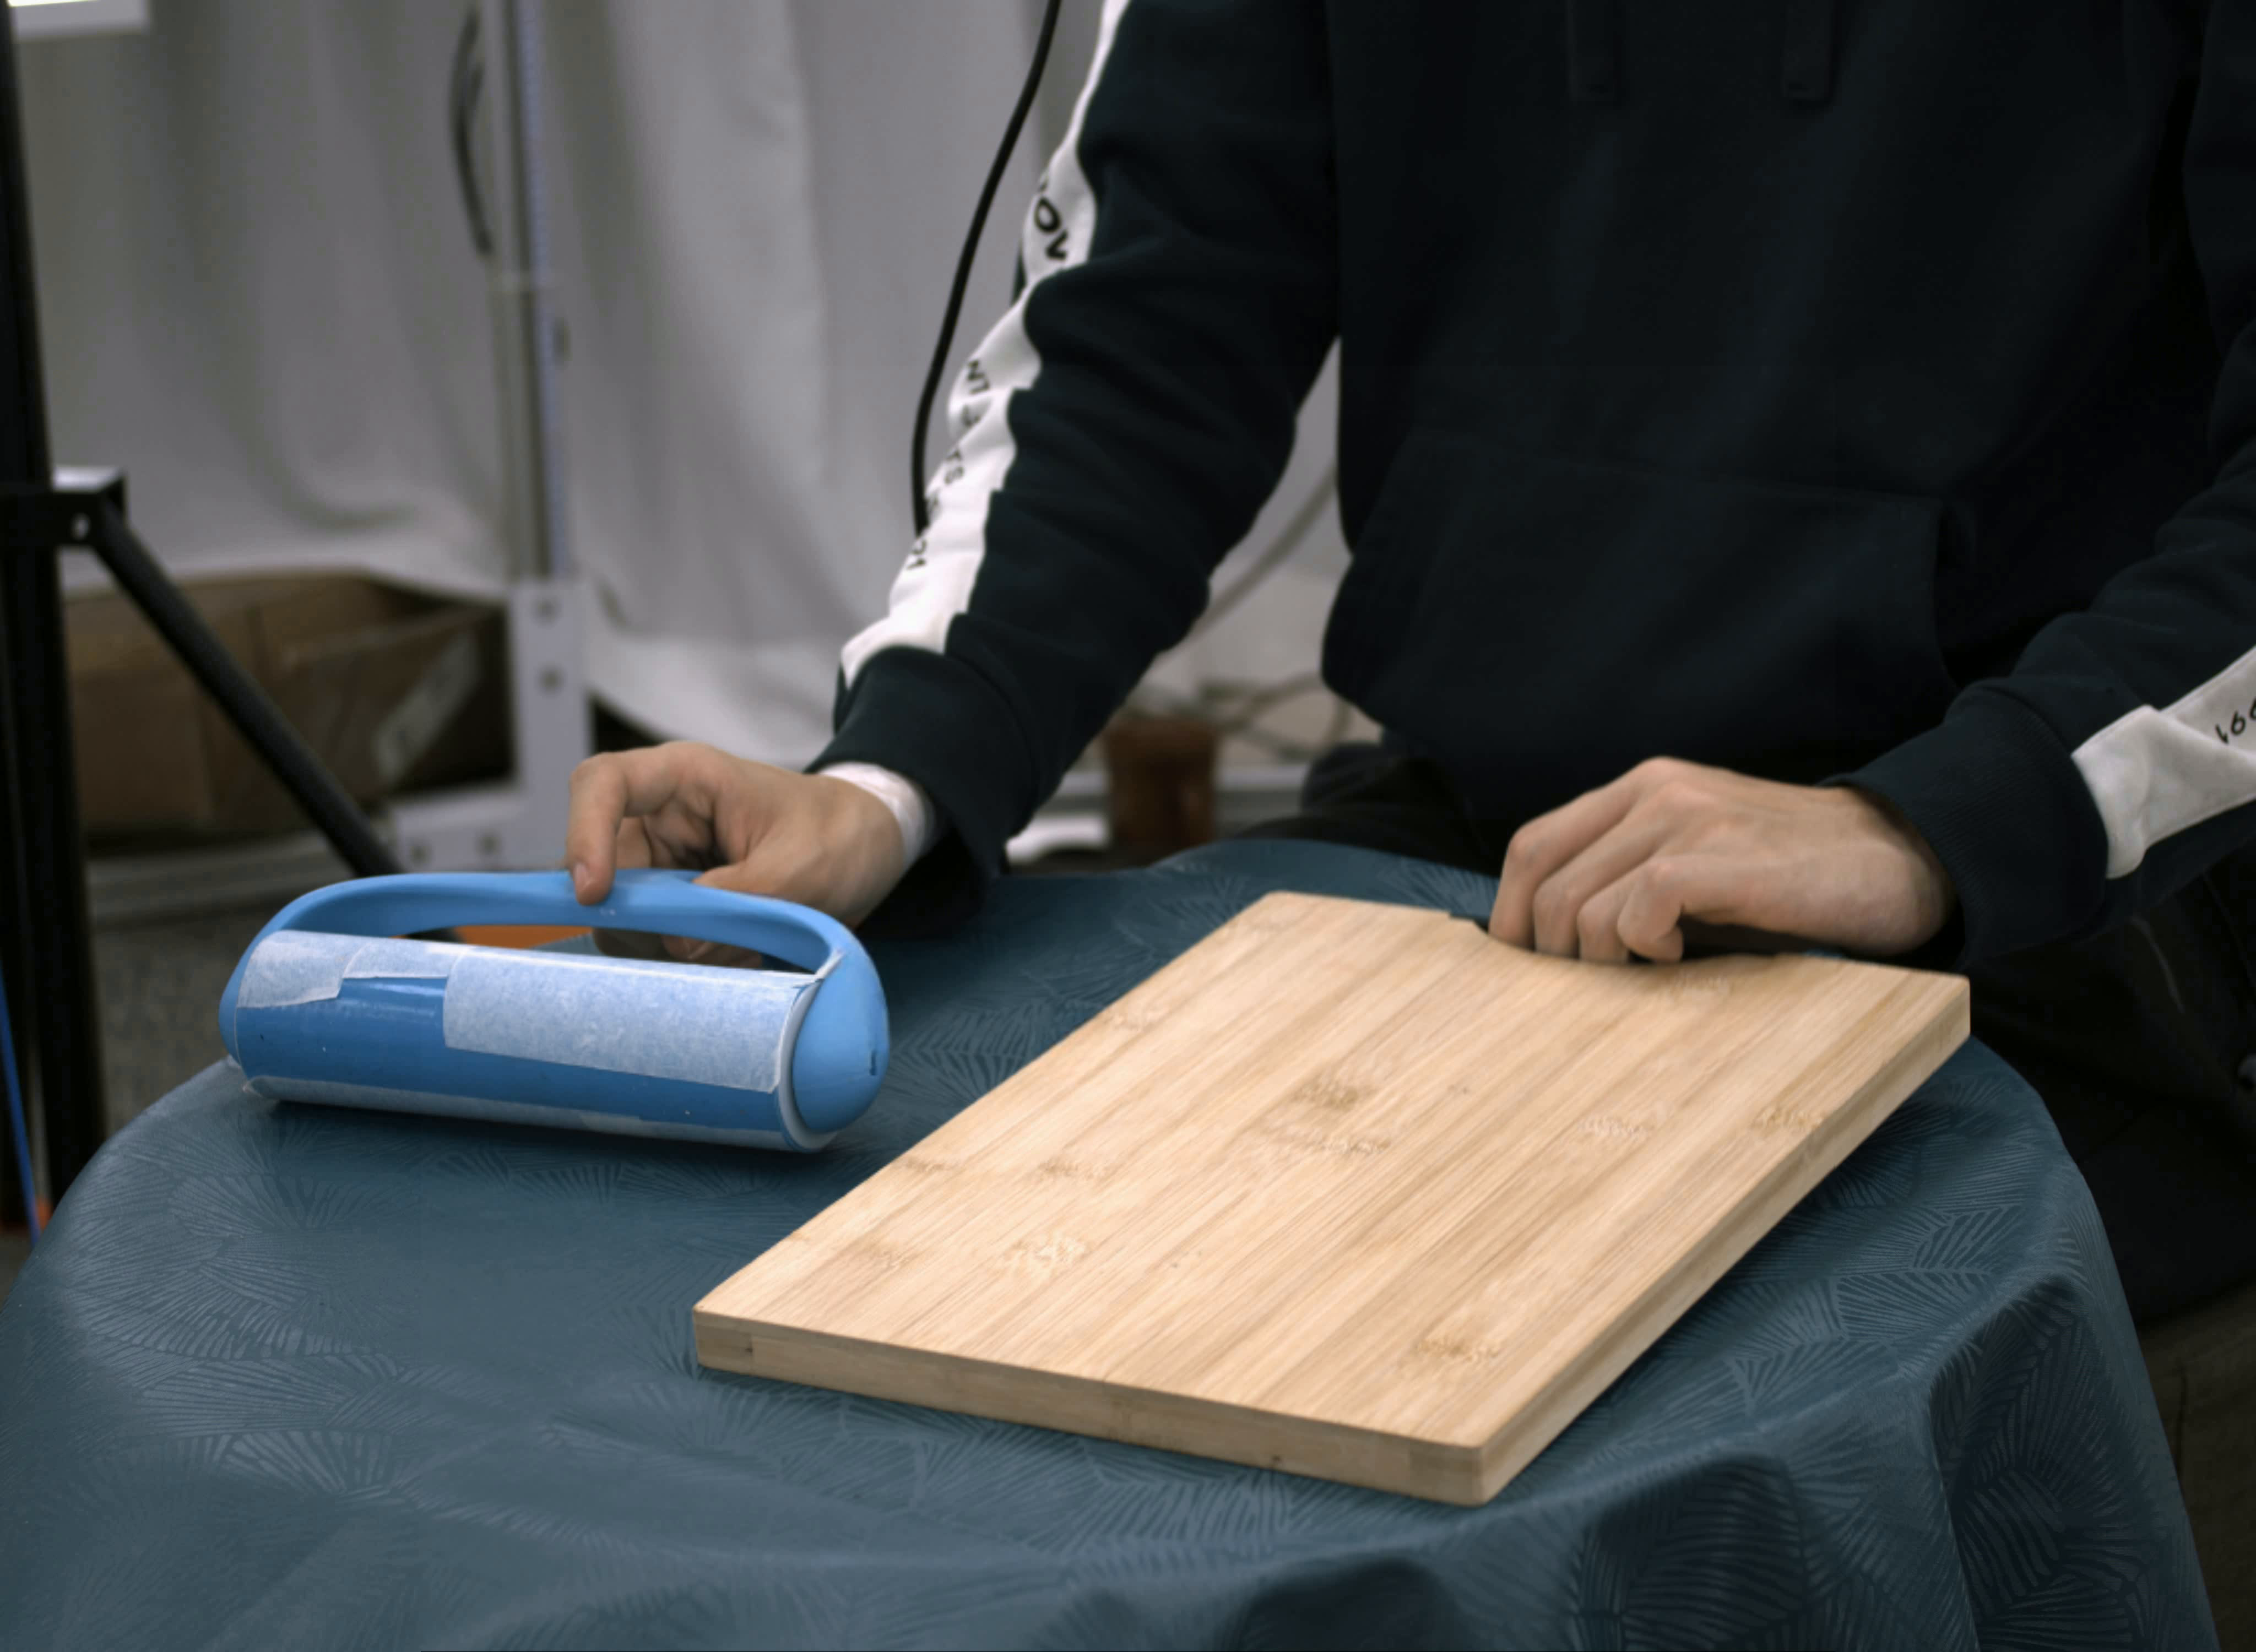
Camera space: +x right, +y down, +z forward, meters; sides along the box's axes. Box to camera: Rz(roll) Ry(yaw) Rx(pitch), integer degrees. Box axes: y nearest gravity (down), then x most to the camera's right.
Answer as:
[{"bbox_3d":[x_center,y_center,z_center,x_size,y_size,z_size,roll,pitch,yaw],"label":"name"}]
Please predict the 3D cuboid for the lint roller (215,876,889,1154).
[{"bbox_3d":[-0.157,0.046,1.684,0.232,0.068,0.178,2,19,23],"label":"lint roller"}]

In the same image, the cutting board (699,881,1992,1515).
[{"bbox_3d":[0.070,0.095,1.516,0.255,0.023,0.343,6,23,29],"label":"cutting board"}]
